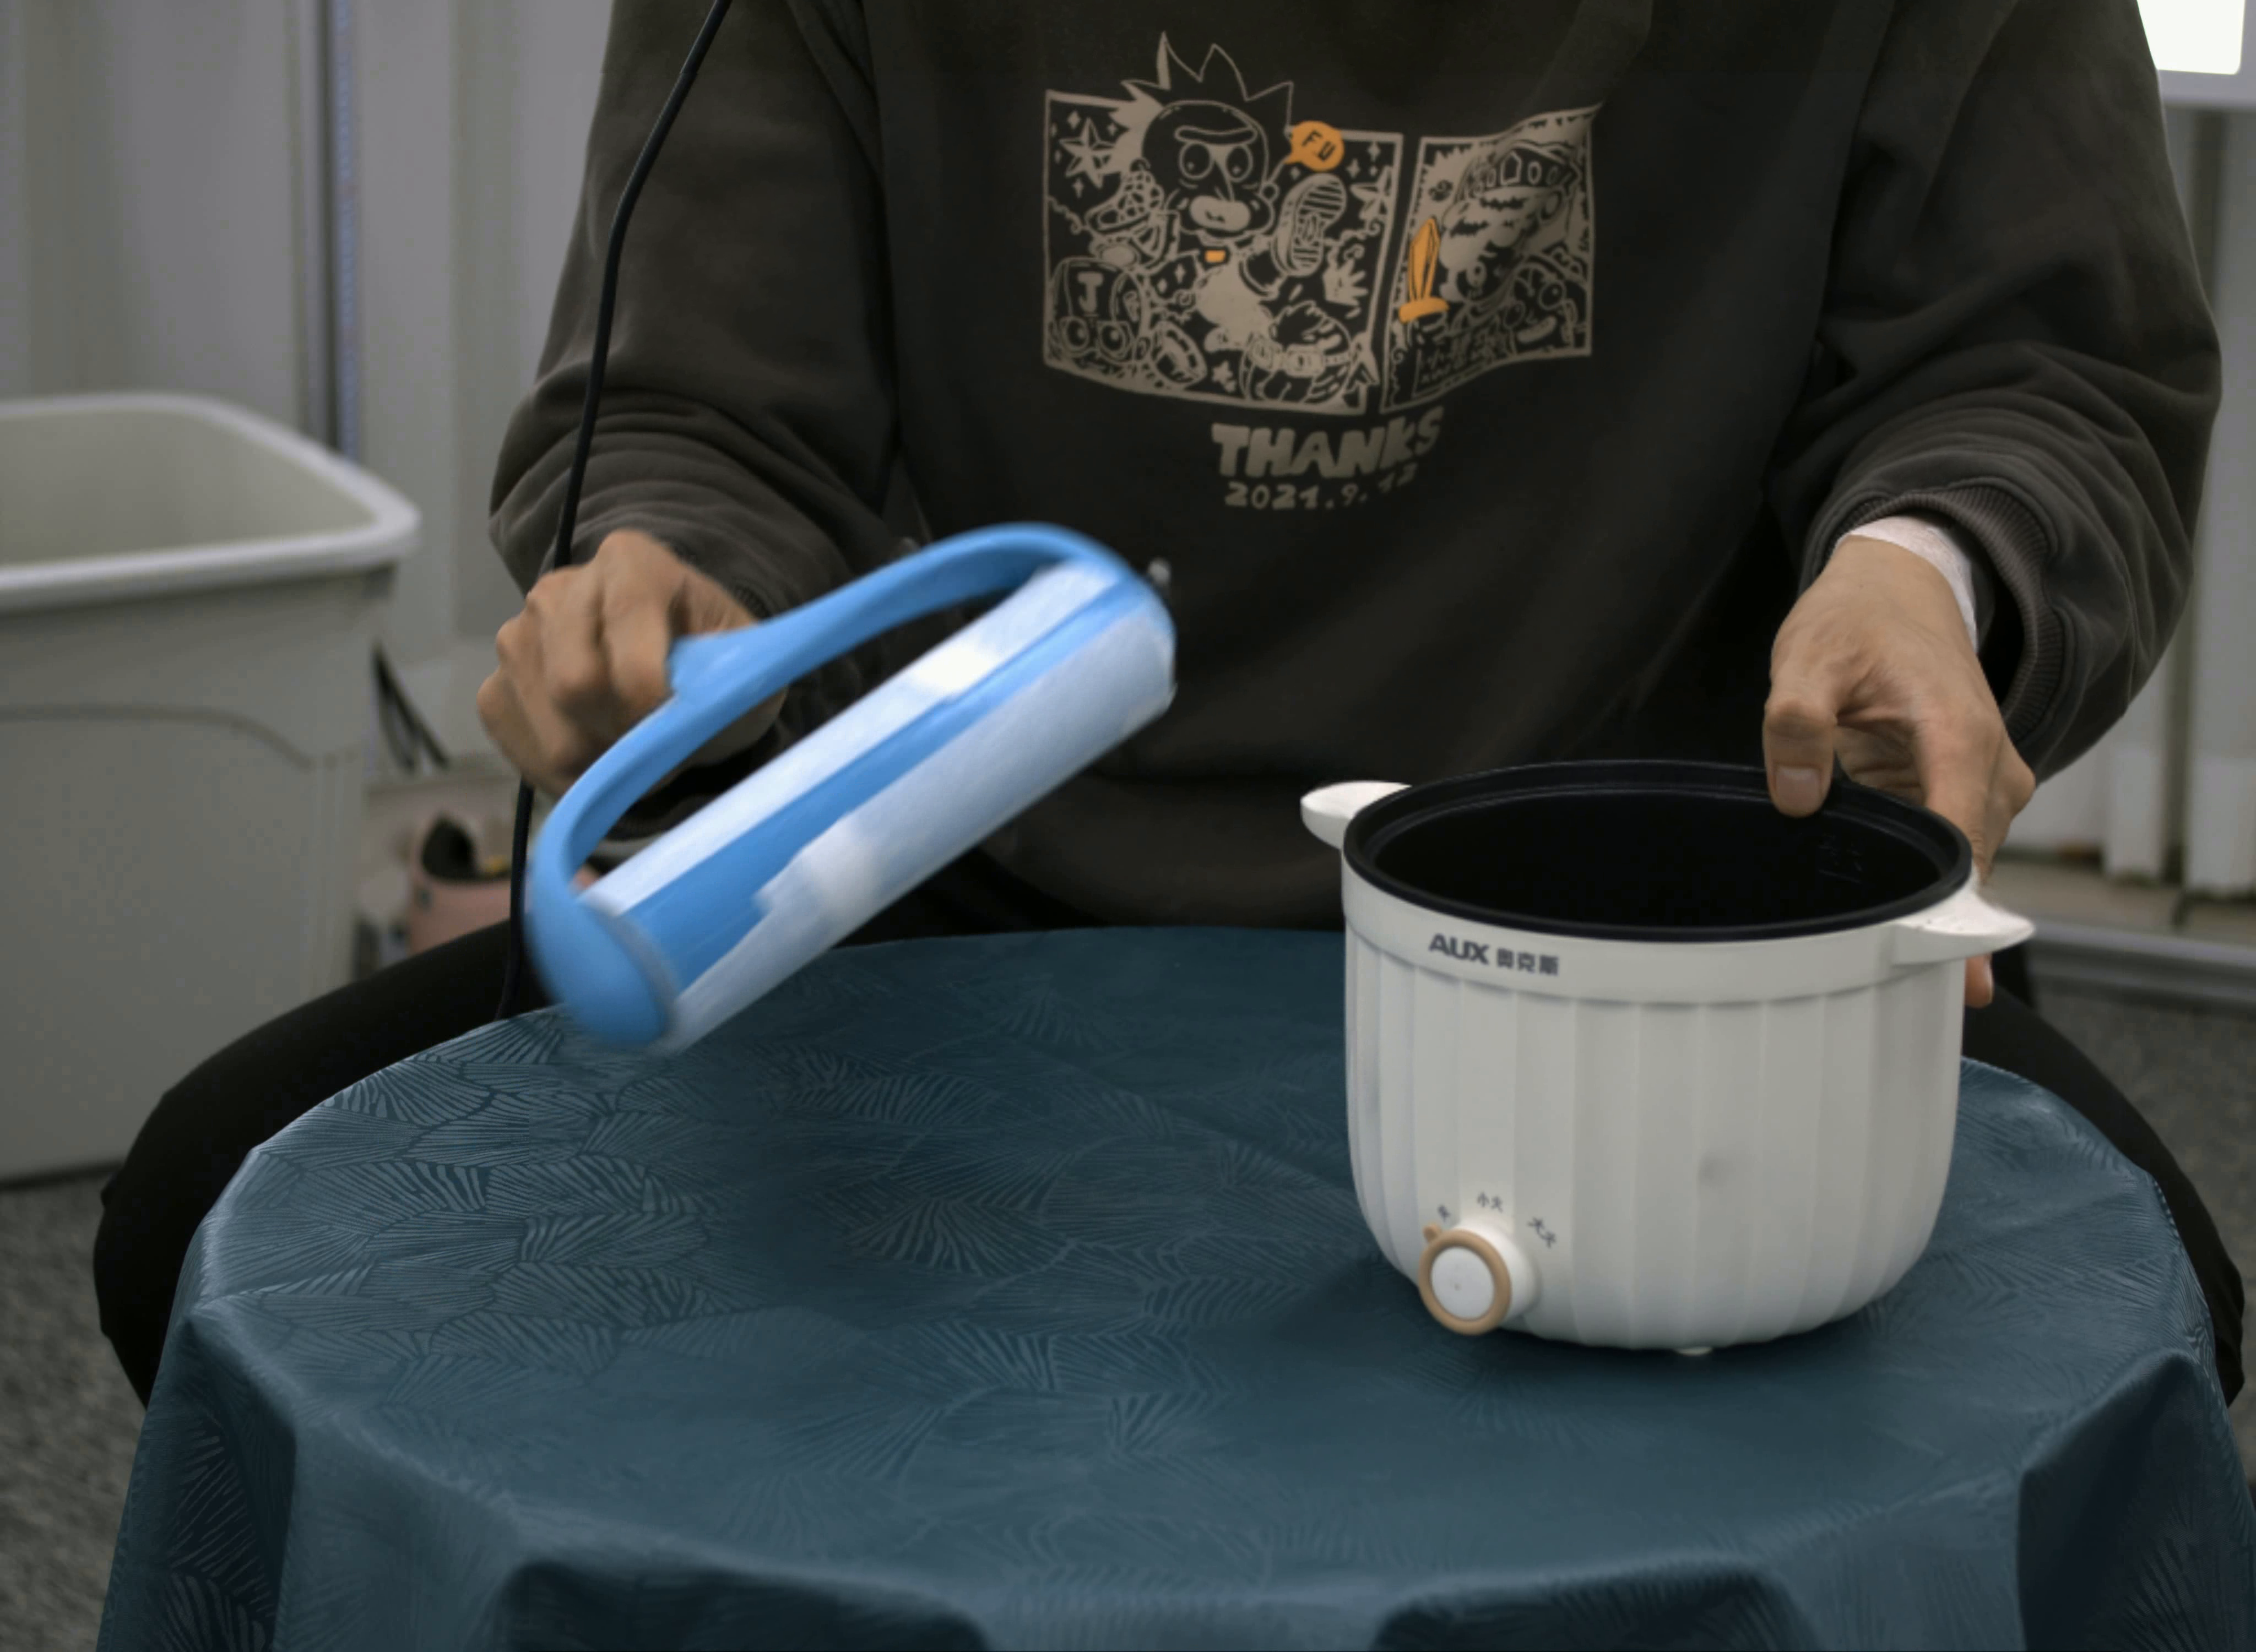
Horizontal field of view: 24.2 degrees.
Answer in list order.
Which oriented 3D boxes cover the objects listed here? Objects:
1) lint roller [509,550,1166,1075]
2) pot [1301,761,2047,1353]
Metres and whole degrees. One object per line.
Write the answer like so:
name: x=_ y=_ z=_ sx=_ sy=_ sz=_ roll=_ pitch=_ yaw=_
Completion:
lint roller: x=-0.118 y=-0.019 z=1.561 sx=0.229 sy=0.069 sz=0.178 roll=-37 pitch=41 yaw=-29
pot: x=0.151 y=0.069 z=1.531 sx=0.237 sy=0.143 sz=0.191 roll=10 pitch=15 yaw=34
